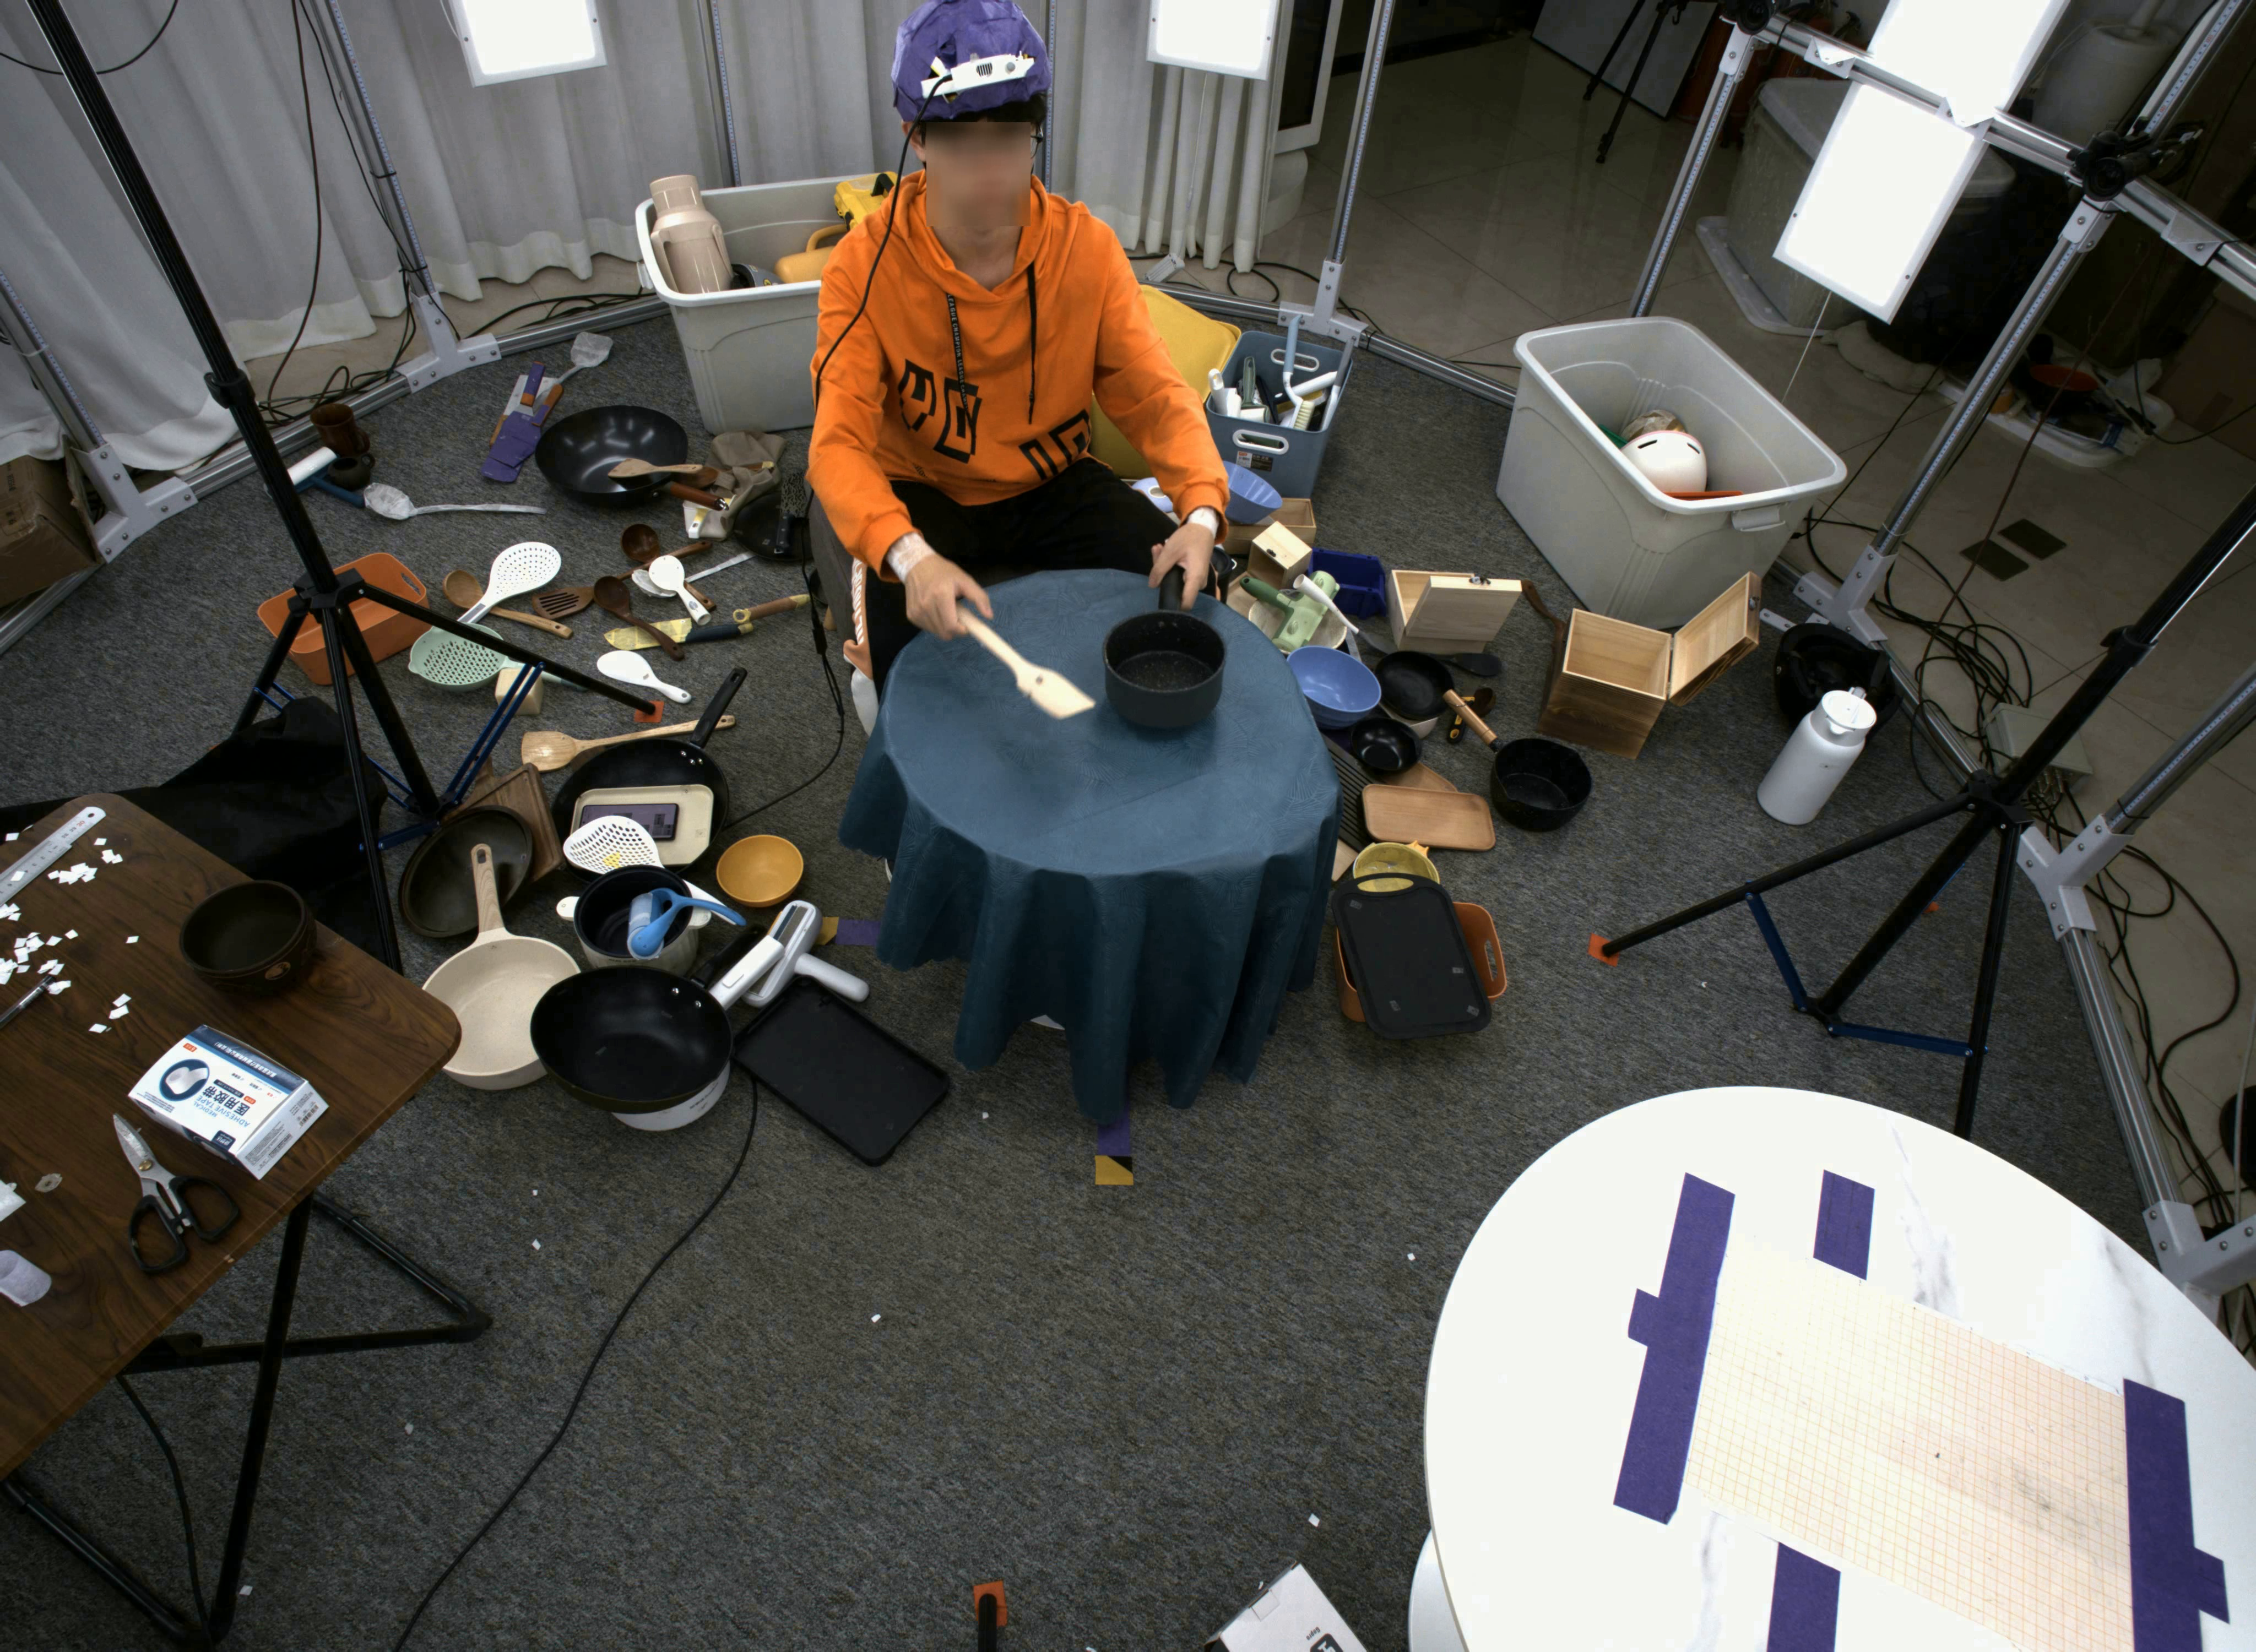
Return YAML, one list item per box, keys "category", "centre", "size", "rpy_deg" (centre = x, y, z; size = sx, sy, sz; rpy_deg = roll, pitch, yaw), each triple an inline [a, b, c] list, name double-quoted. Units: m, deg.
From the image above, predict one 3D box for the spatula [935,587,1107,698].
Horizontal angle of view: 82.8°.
- category: "spatula"
  centre: [-0.153, -0.248, 1.722]
  size: [0.297, 0.010, 0.072]
  rpy_deg: [37, 29, 24]

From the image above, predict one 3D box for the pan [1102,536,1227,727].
- category: "pan"
  centre: [0.060, -0.280, 1.830]
  size: [0.172, 0.084, 0.336]
  rpy_deg: [6, 49, 5]
